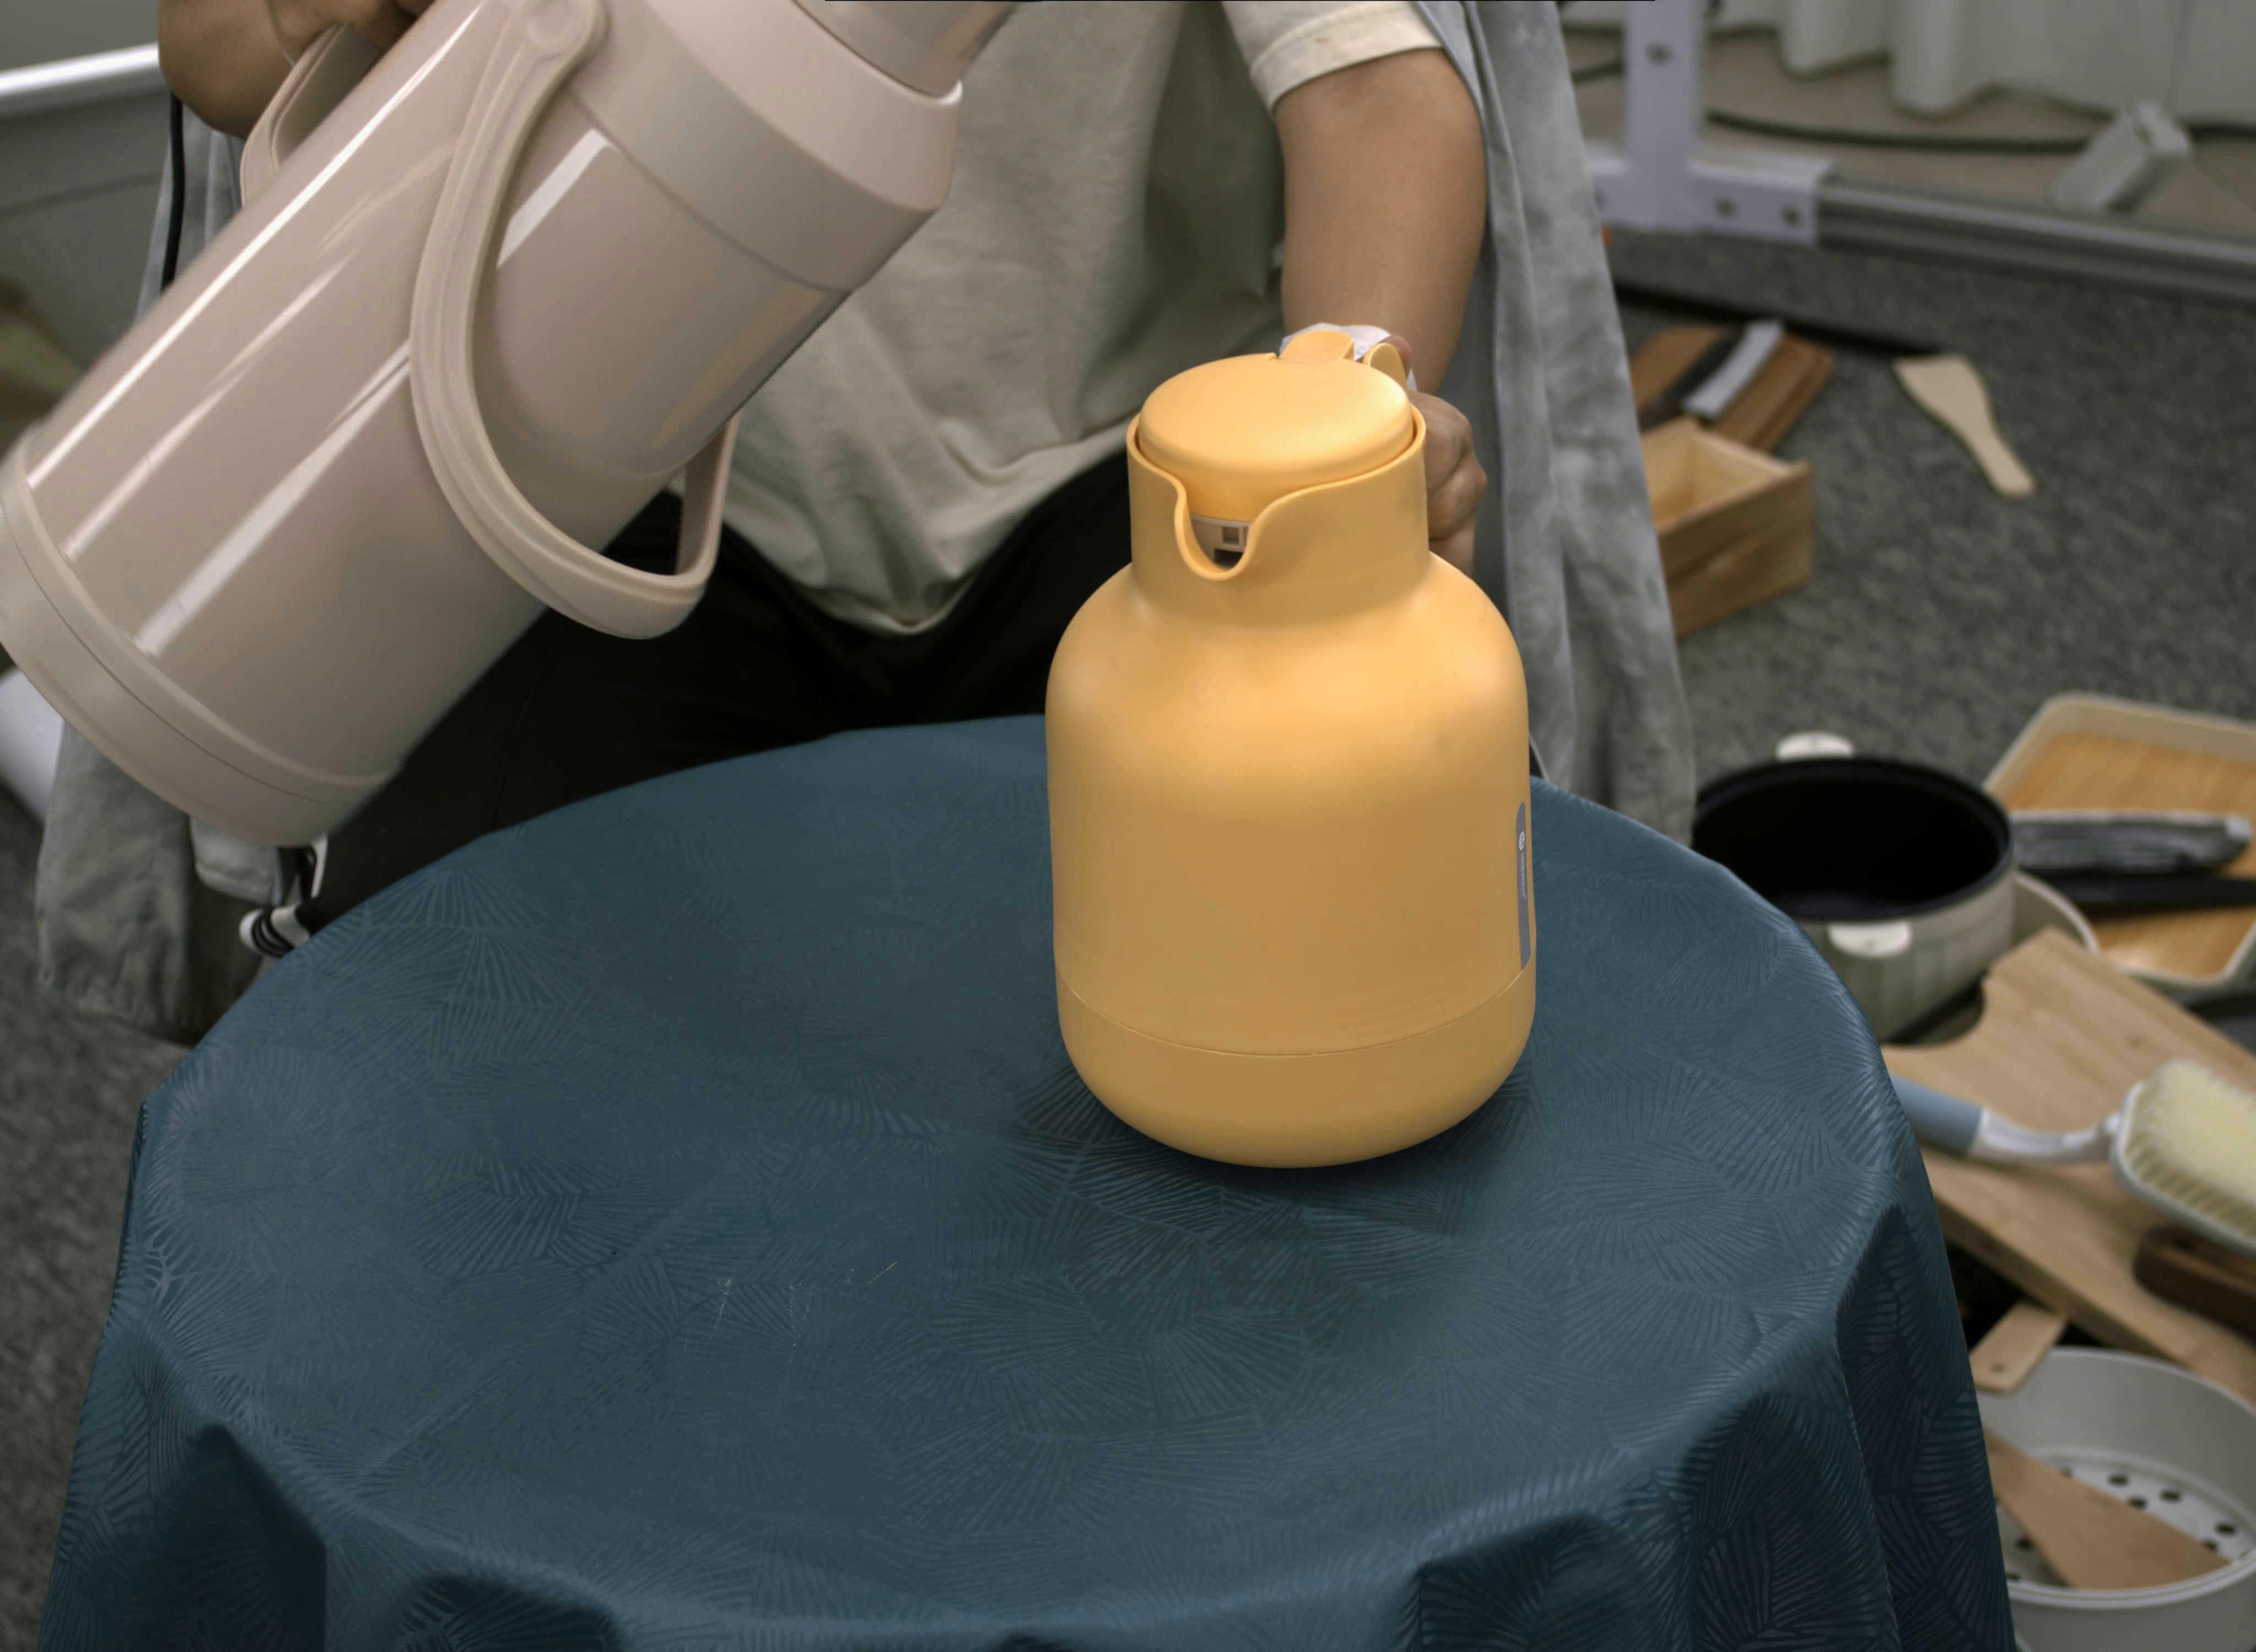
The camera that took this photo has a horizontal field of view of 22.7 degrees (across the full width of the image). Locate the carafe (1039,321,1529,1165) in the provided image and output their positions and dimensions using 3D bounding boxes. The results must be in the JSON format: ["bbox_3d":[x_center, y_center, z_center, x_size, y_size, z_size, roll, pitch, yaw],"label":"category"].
[{"bbox_3d":[0.058,-0.037,1.880,0.162,0.257,0.206,8,29,17],"label":"carafe"}]

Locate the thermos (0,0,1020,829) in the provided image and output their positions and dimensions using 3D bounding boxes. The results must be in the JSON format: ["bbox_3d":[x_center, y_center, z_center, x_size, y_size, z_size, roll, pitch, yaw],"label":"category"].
[{"bbox_3d":[-0.186,-0.197,1.772,0.209,0.402,0.175,54,19,23],"label":"thermos"}]
